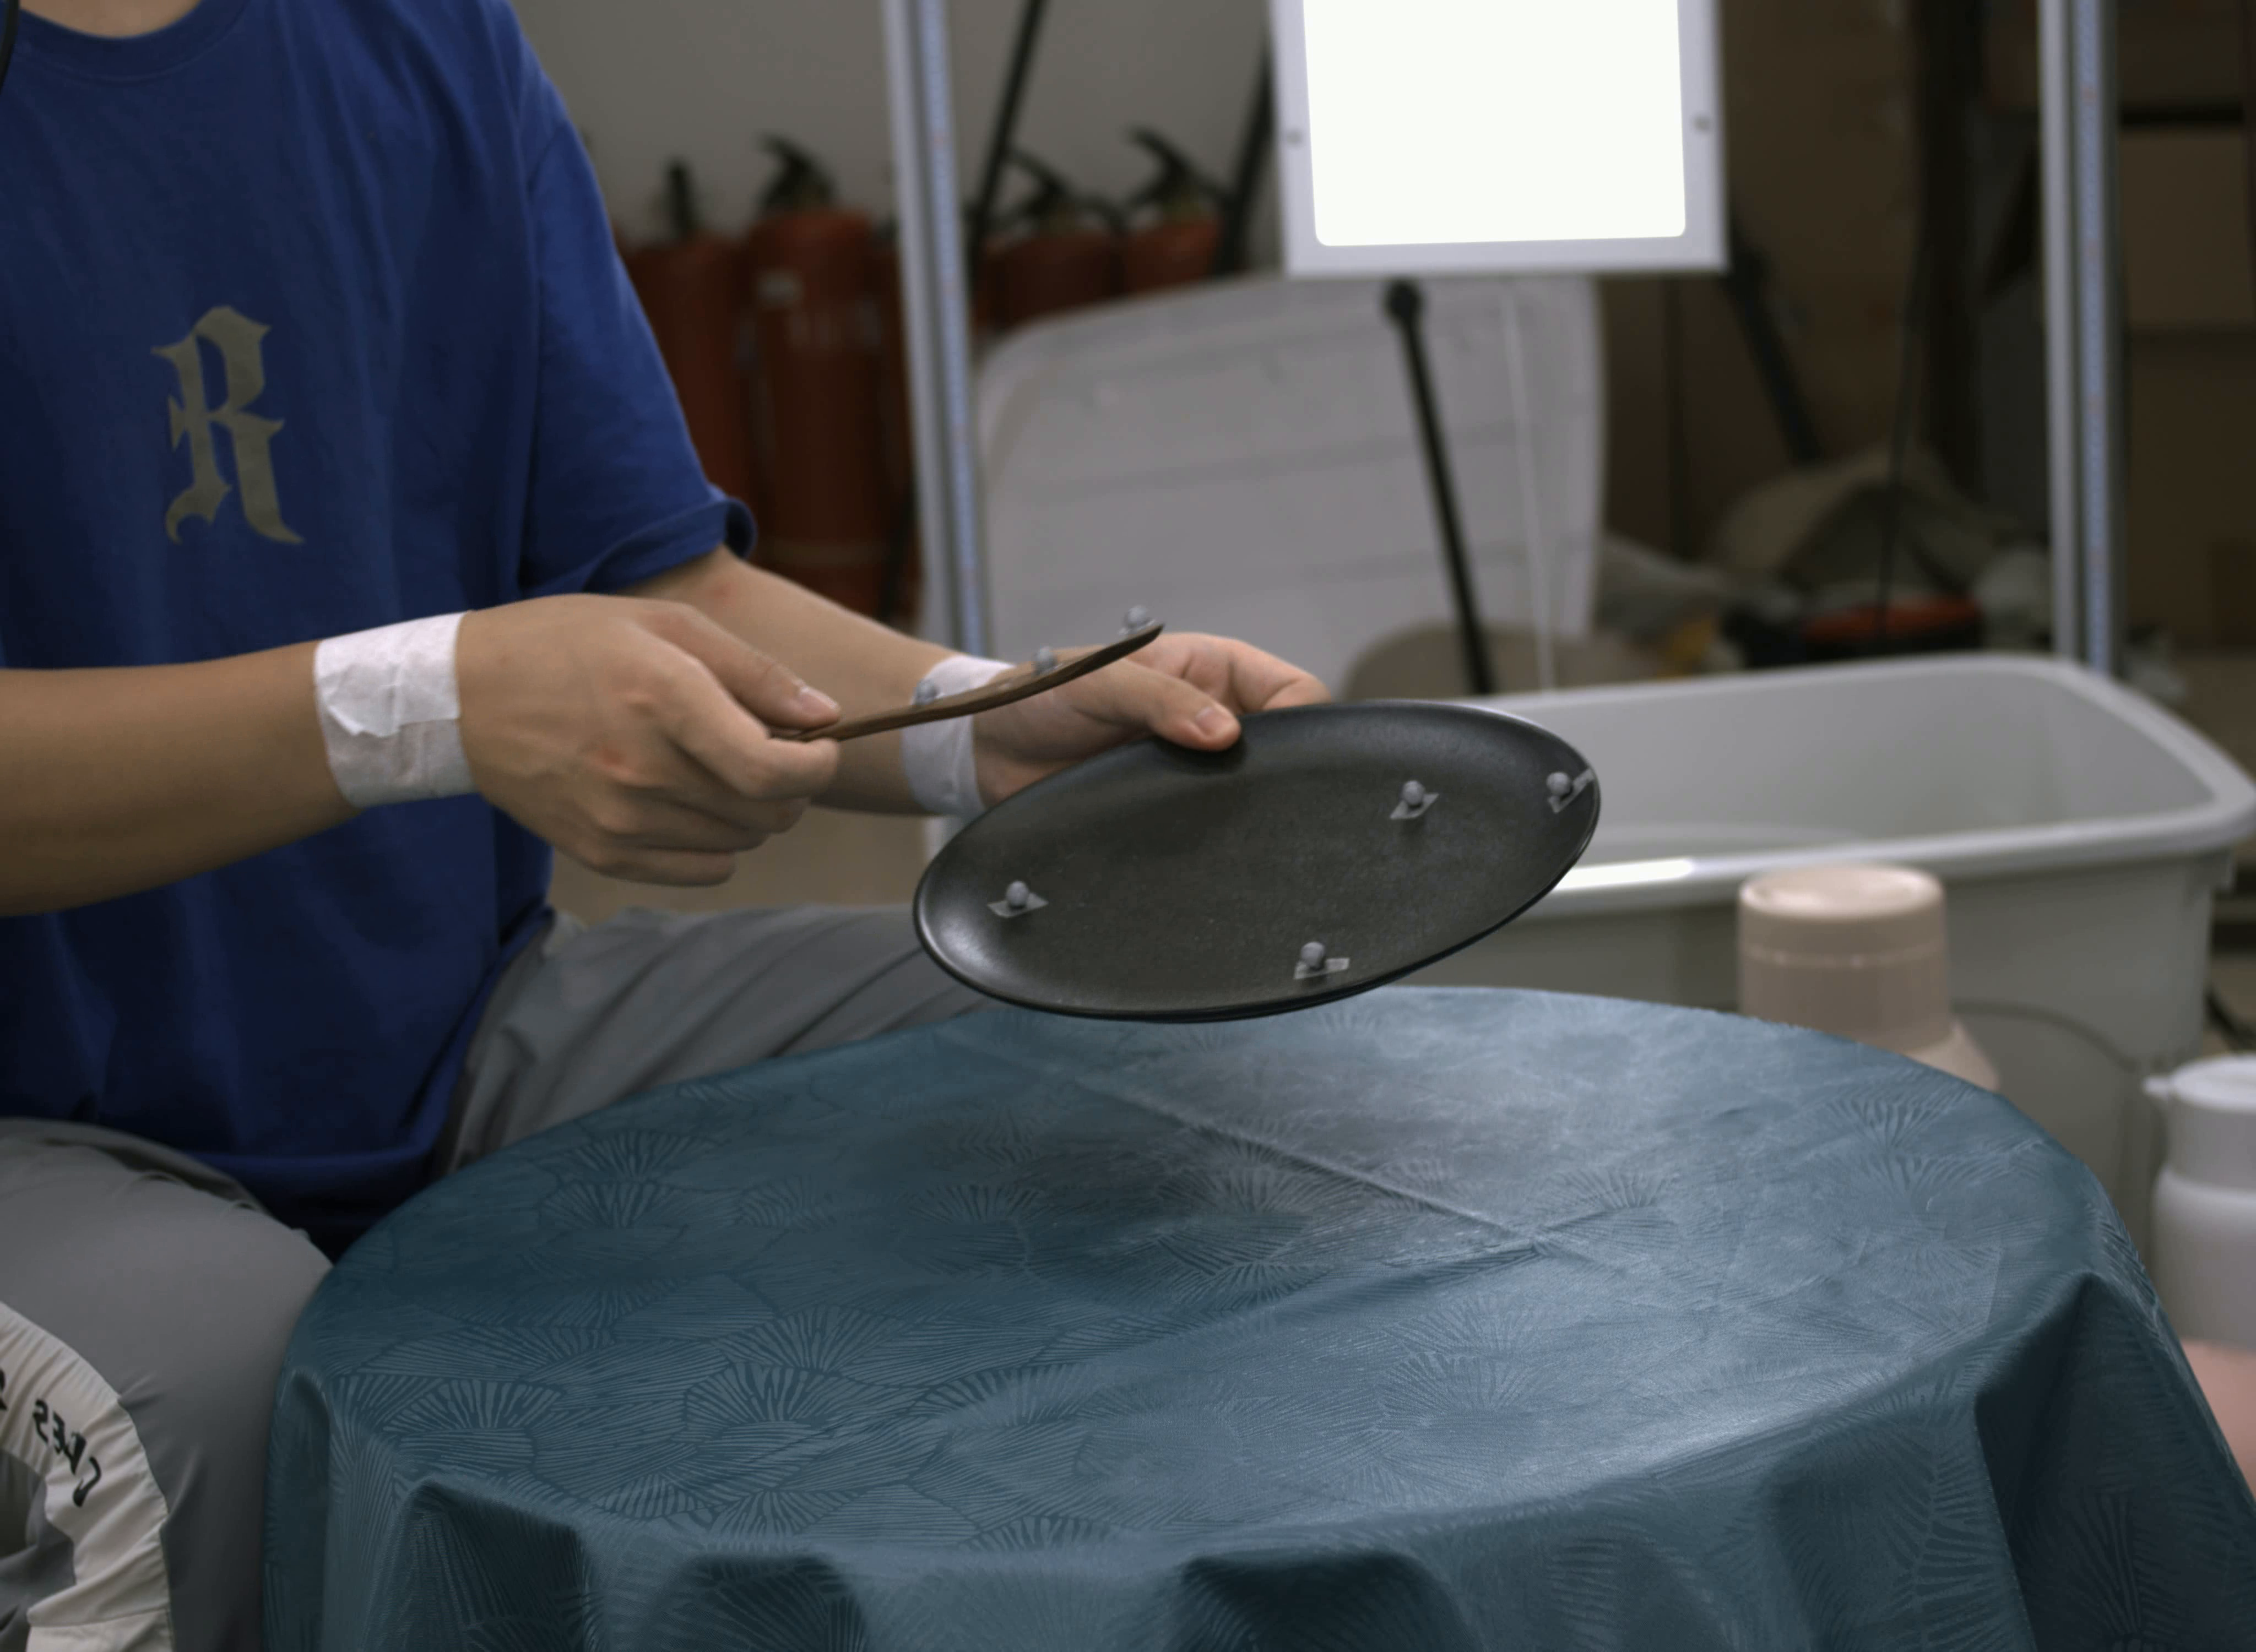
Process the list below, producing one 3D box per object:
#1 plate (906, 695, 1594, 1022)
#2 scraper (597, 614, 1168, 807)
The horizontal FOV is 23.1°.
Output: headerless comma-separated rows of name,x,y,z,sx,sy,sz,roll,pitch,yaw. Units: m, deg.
plate,0.043,0.016,1.908,0.244,0.023,0.244,-11,24,4
scraper,-0.086,-0.036,1.865,0.214,0.011,0.074,-16,5,23
